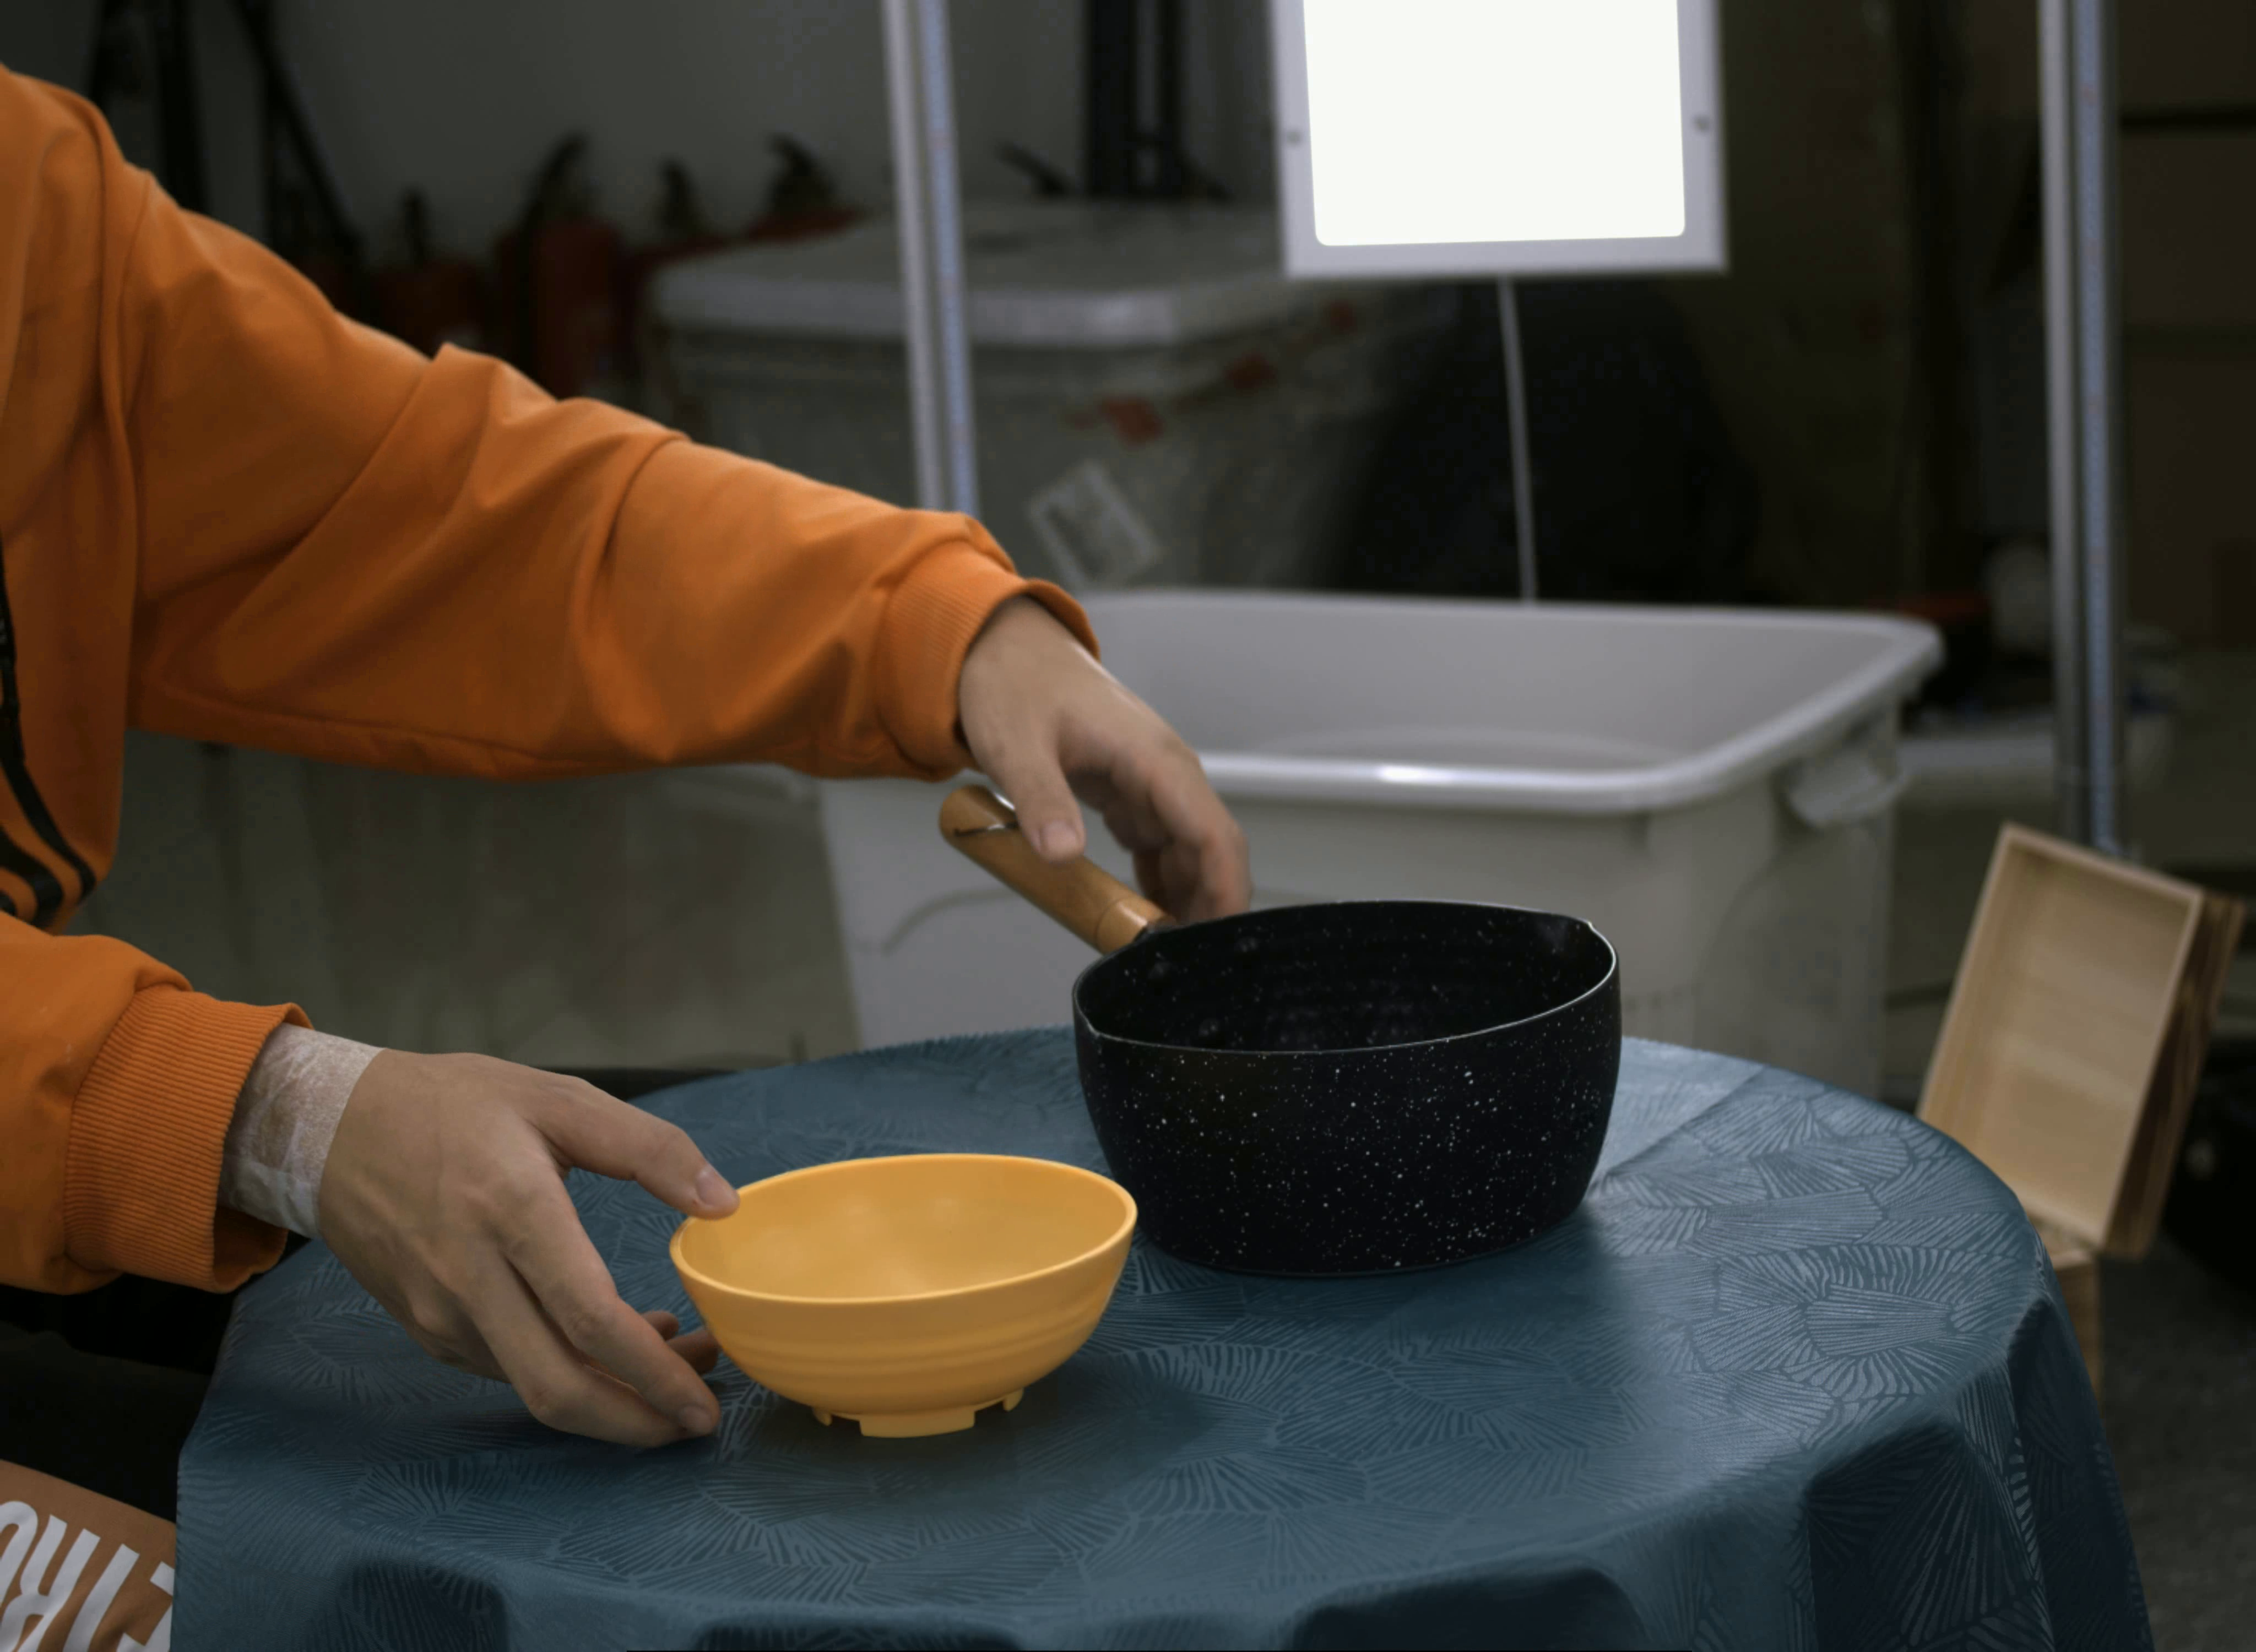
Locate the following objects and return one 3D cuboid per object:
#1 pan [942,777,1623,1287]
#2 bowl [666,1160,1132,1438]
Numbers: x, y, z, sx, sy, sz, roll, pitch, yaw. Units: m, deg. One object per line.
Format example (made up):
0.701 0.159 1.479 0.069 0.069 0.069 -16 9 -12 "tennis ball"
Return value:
0.031 0.065 1.910 0.203 0.108 0.349 -15 18 -30 "pan"
-0.069 0.150 1.702 0.145 0.060 0.145 -4 13 0 "bowl"
